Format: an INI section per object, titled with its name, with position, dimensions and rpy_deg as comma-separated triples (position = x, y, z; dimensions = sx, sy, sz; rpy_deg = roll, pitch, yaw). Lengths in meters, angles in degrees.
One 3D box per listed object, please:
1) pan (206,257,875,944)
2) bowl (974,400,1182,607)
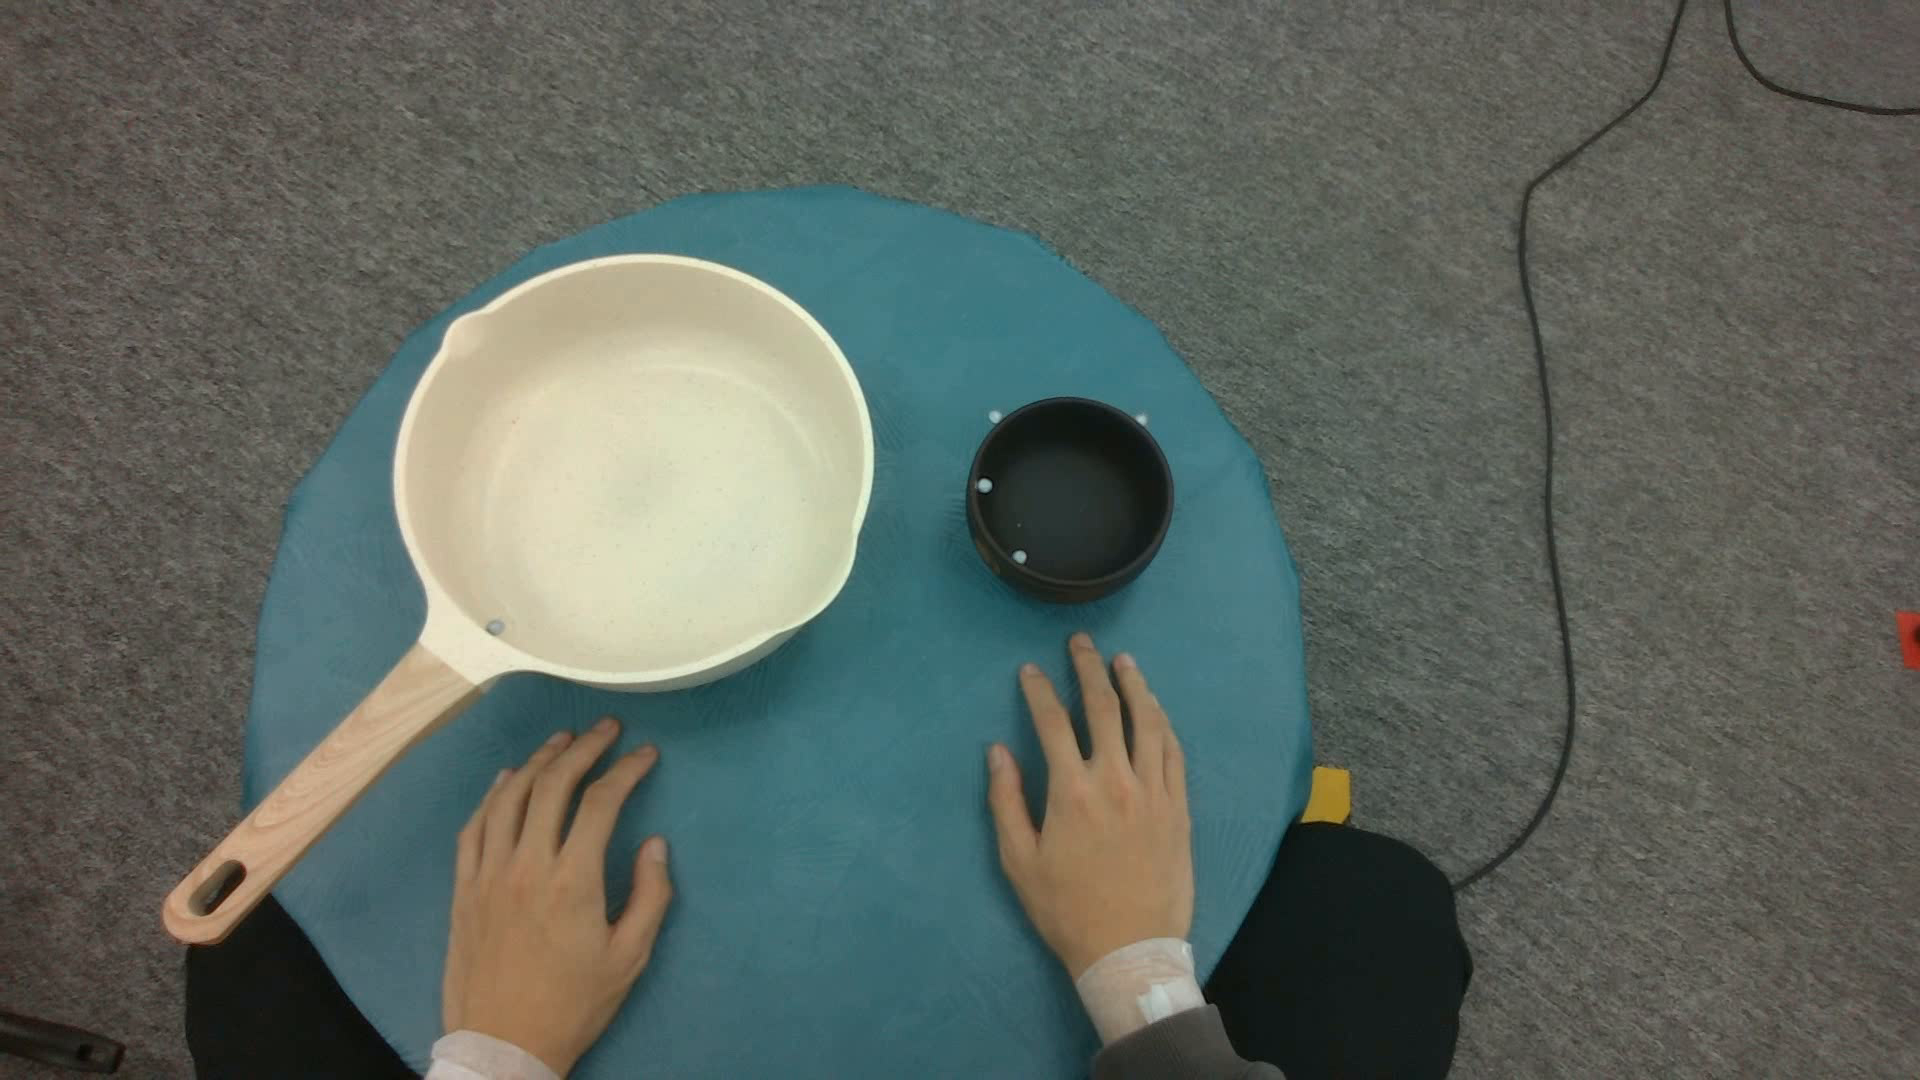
[pan]
position = -0.227, 0.035, 0.756
dimensions = 0.263, 0.101, 0.436
rpy_deg = 35, 72, 8
[bowl]
position = 0.066, -0.016, 0.804
dimensions = 0.118, 0.069, 0.118
rpy_deg = 1, 70, -3
